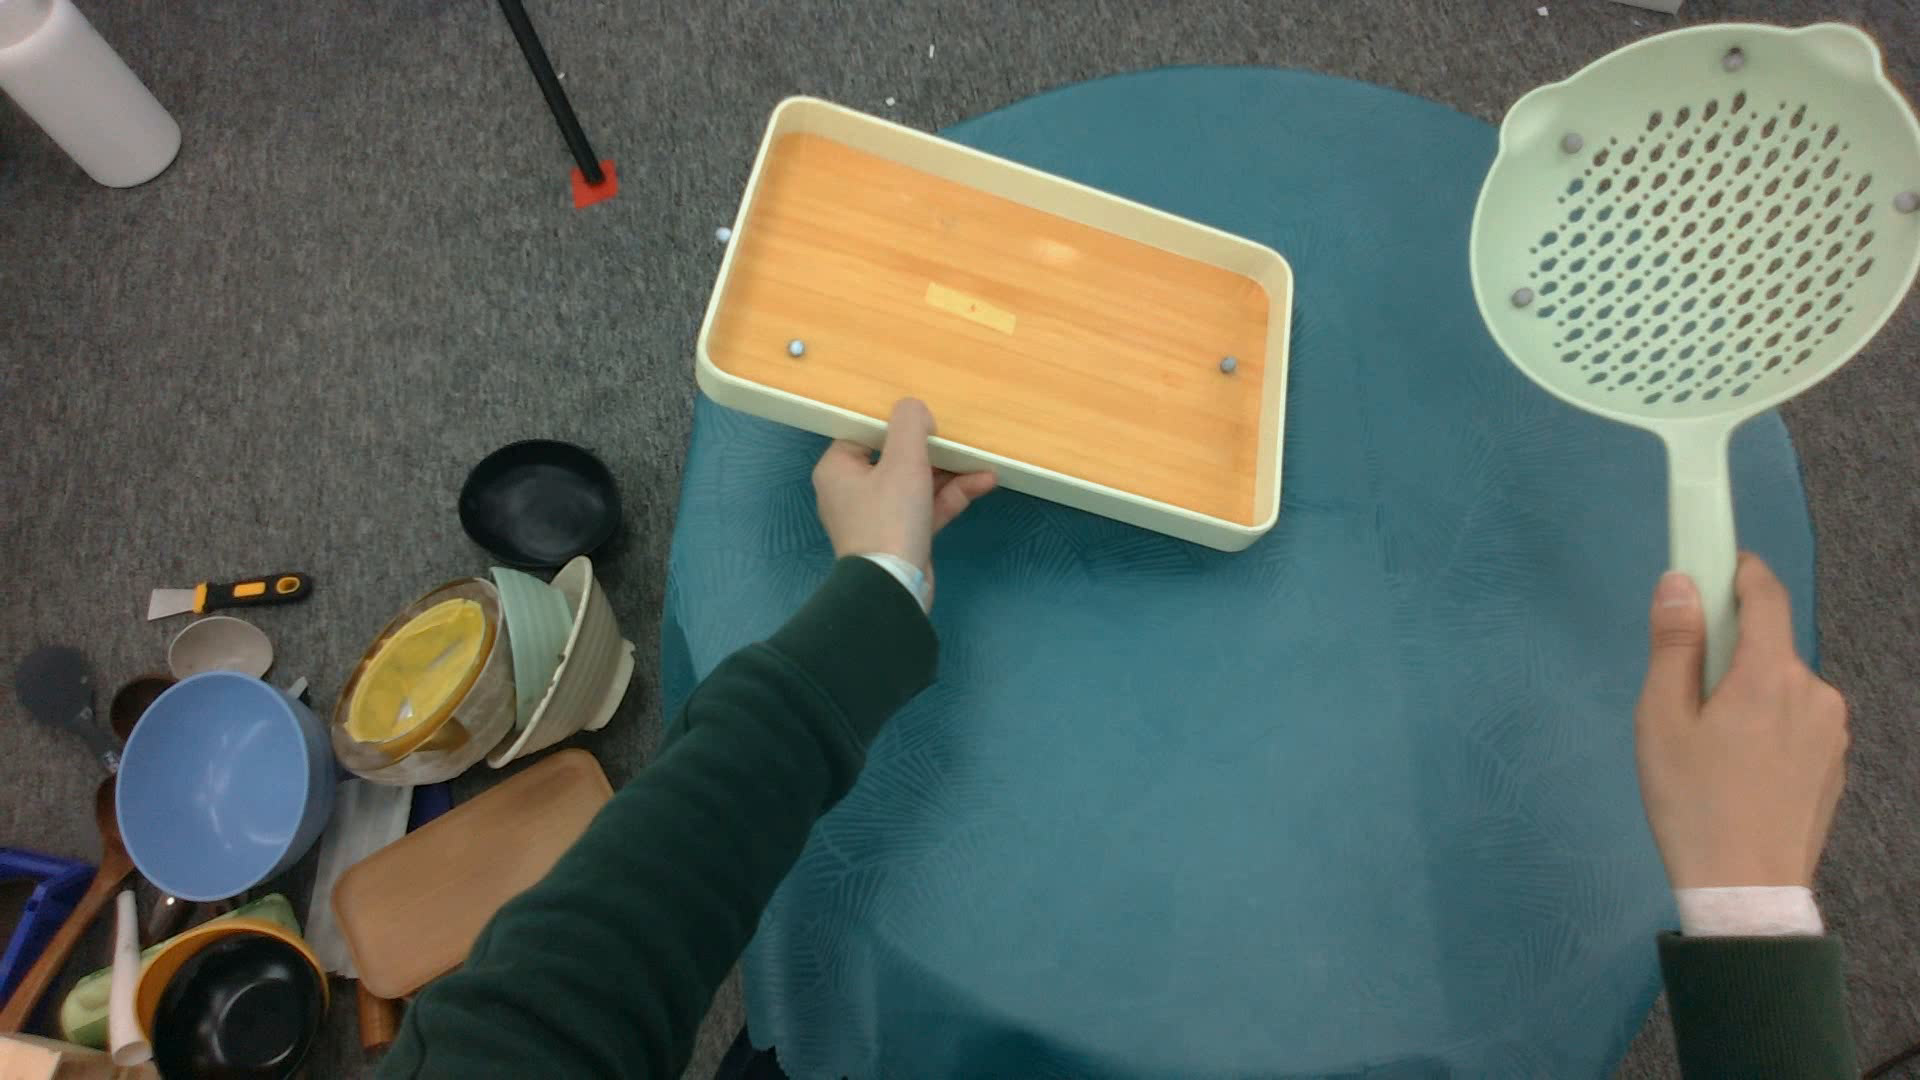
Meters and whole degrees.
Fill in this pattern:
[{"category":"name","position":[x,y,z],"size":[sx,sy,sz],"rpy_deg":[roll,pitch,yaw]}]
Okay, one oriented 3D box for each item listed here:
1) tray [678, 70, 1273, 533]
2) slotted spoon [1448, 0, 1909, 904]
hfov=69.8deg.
[{"category":"tray","position":[0.020,-0.124,0.715],"size":[0.300,0.027,0.192],"rpy_deg":[16,61,-12]},{"category":"slotted spoon","position":[0.288,-0.041,0.554],"size":[0.169,0.075,0.360],"rpy_deg":[-5,69,37]}]
